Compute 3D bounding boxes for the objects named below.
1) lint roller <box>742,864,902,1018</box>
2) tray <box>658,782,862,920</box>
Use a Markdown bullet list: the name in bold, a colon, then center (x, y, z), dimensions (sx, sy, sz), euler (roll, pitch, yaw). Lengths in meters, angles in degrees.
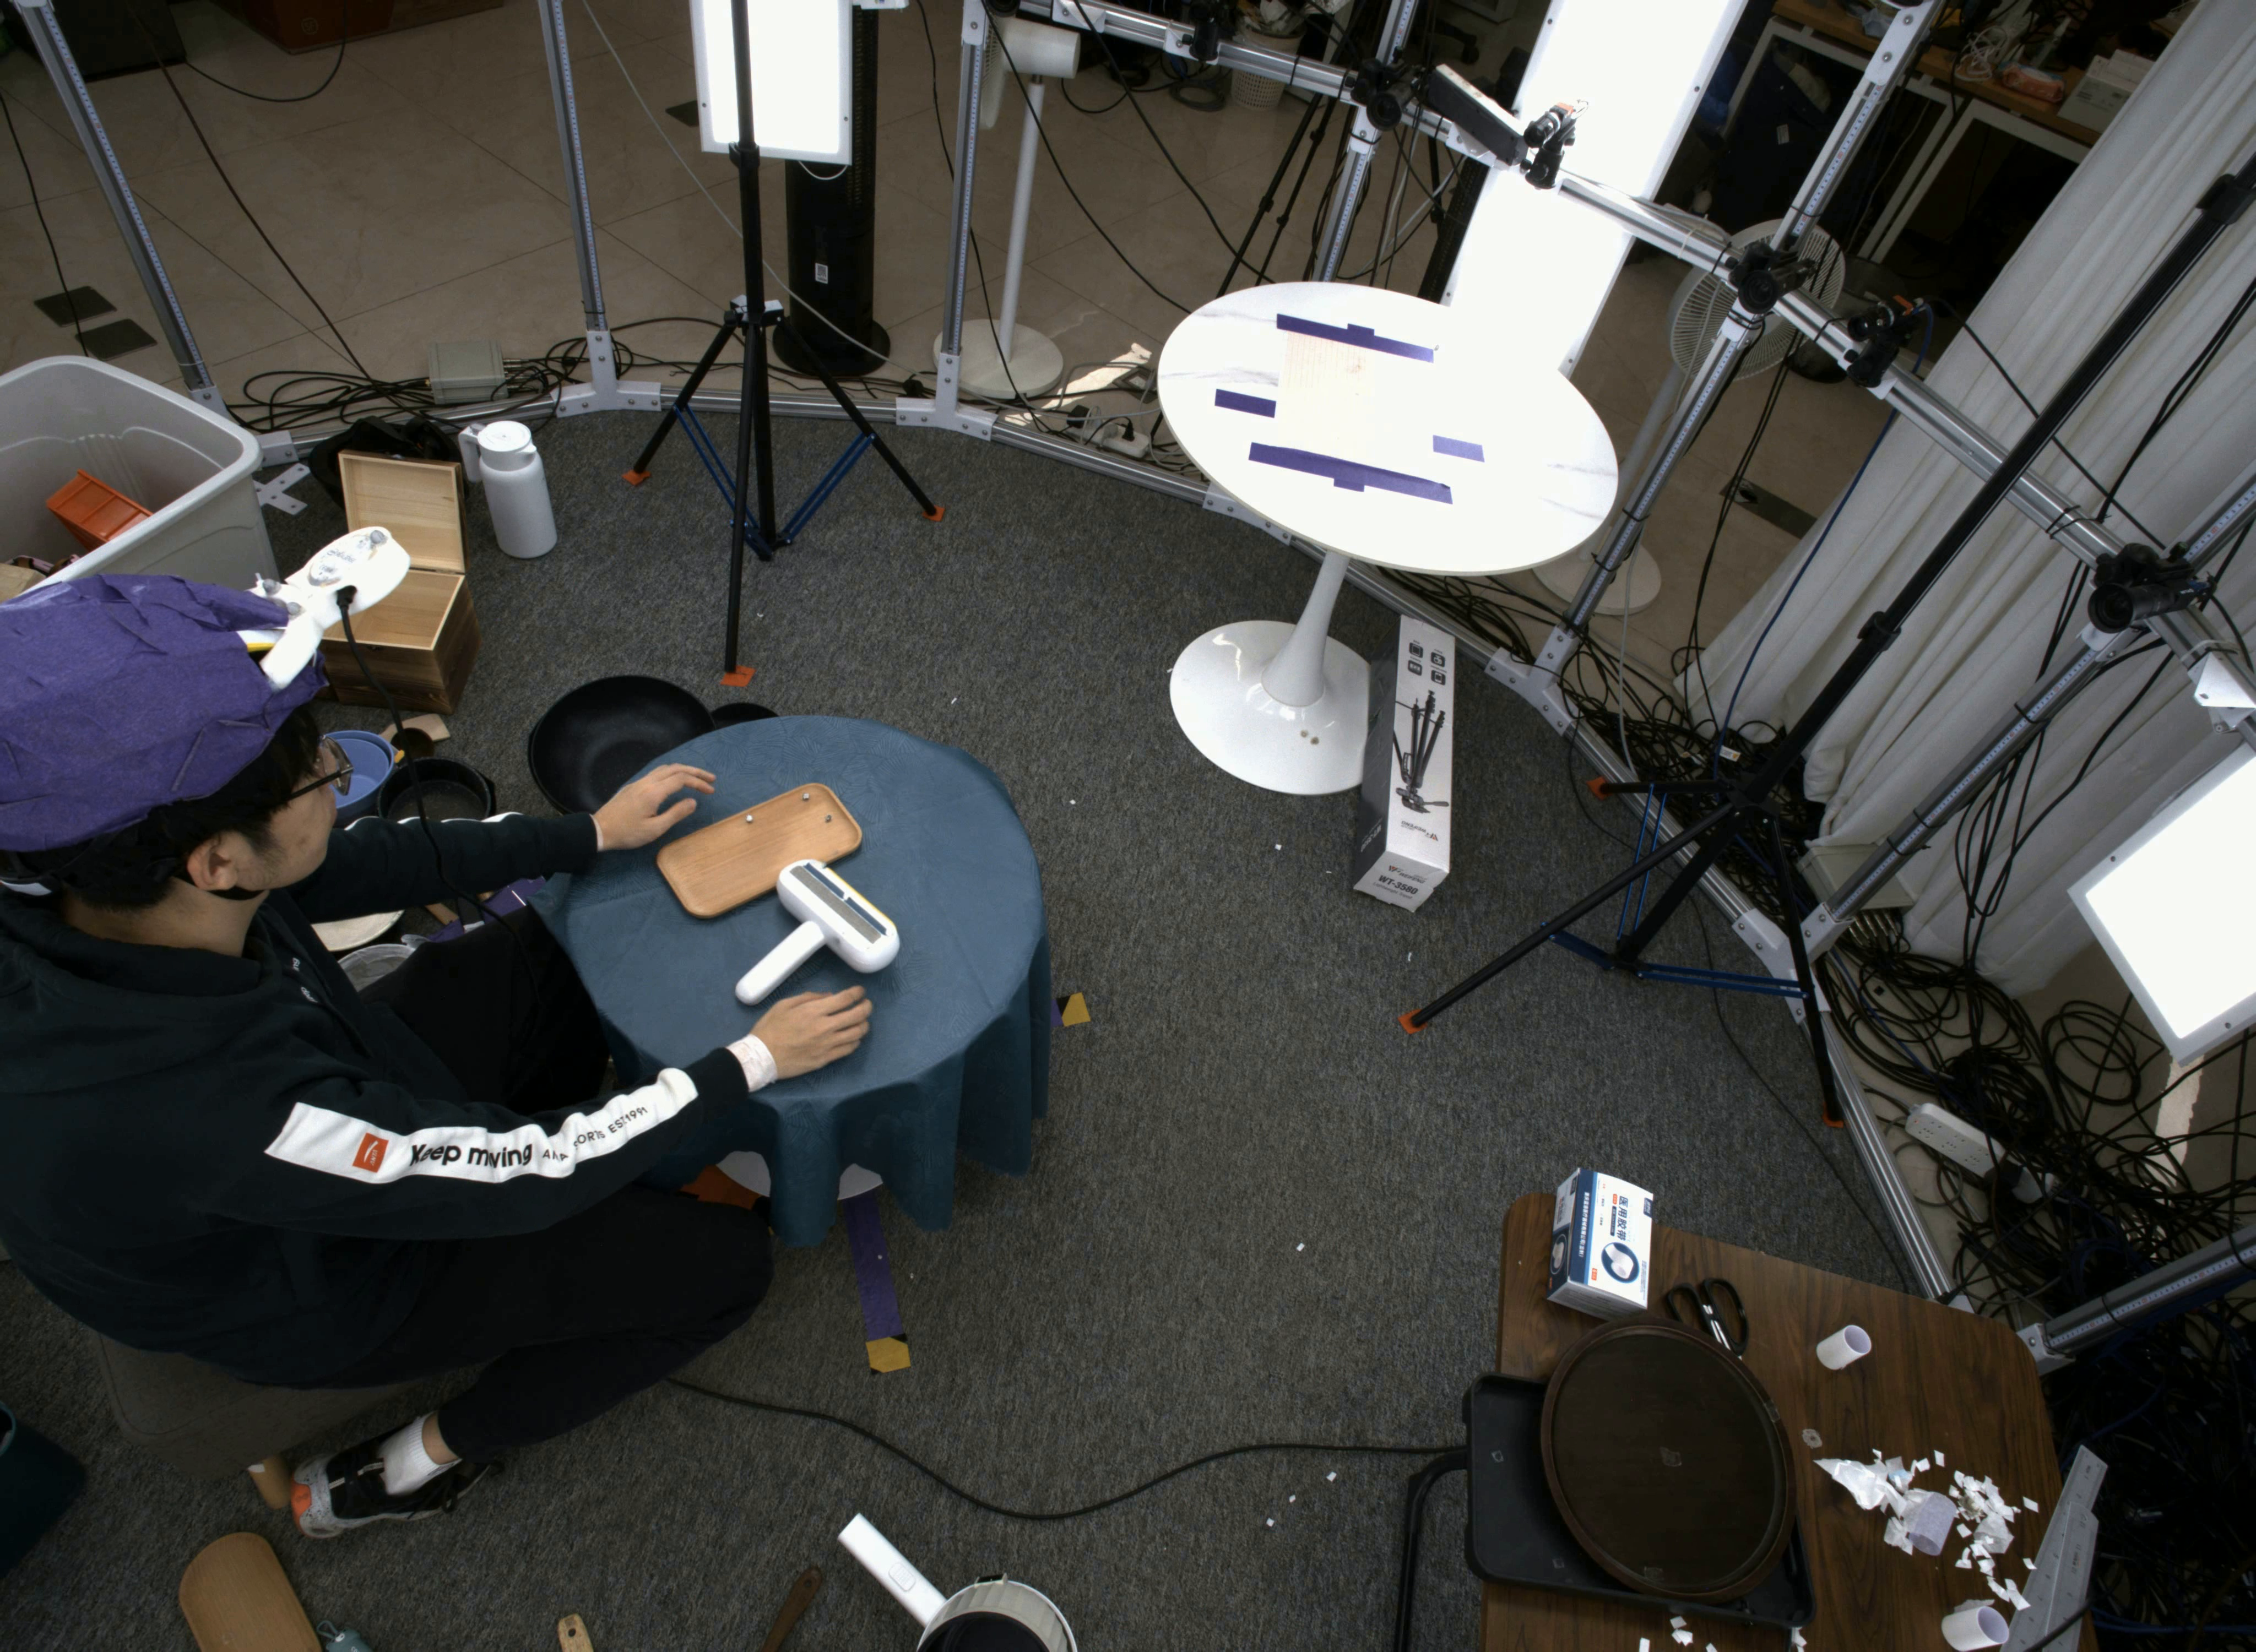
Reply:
- **lint roller**: center (-0.399, 0.156, 1.602), dimensions (0.192, 0.076, 0.187), euler (-39, 63, -18)
- **tray**: center (-0.477, 0.029, 1.684), dimensions (0.252, 0.023, 0.127), euler (-27, 63, -29)
